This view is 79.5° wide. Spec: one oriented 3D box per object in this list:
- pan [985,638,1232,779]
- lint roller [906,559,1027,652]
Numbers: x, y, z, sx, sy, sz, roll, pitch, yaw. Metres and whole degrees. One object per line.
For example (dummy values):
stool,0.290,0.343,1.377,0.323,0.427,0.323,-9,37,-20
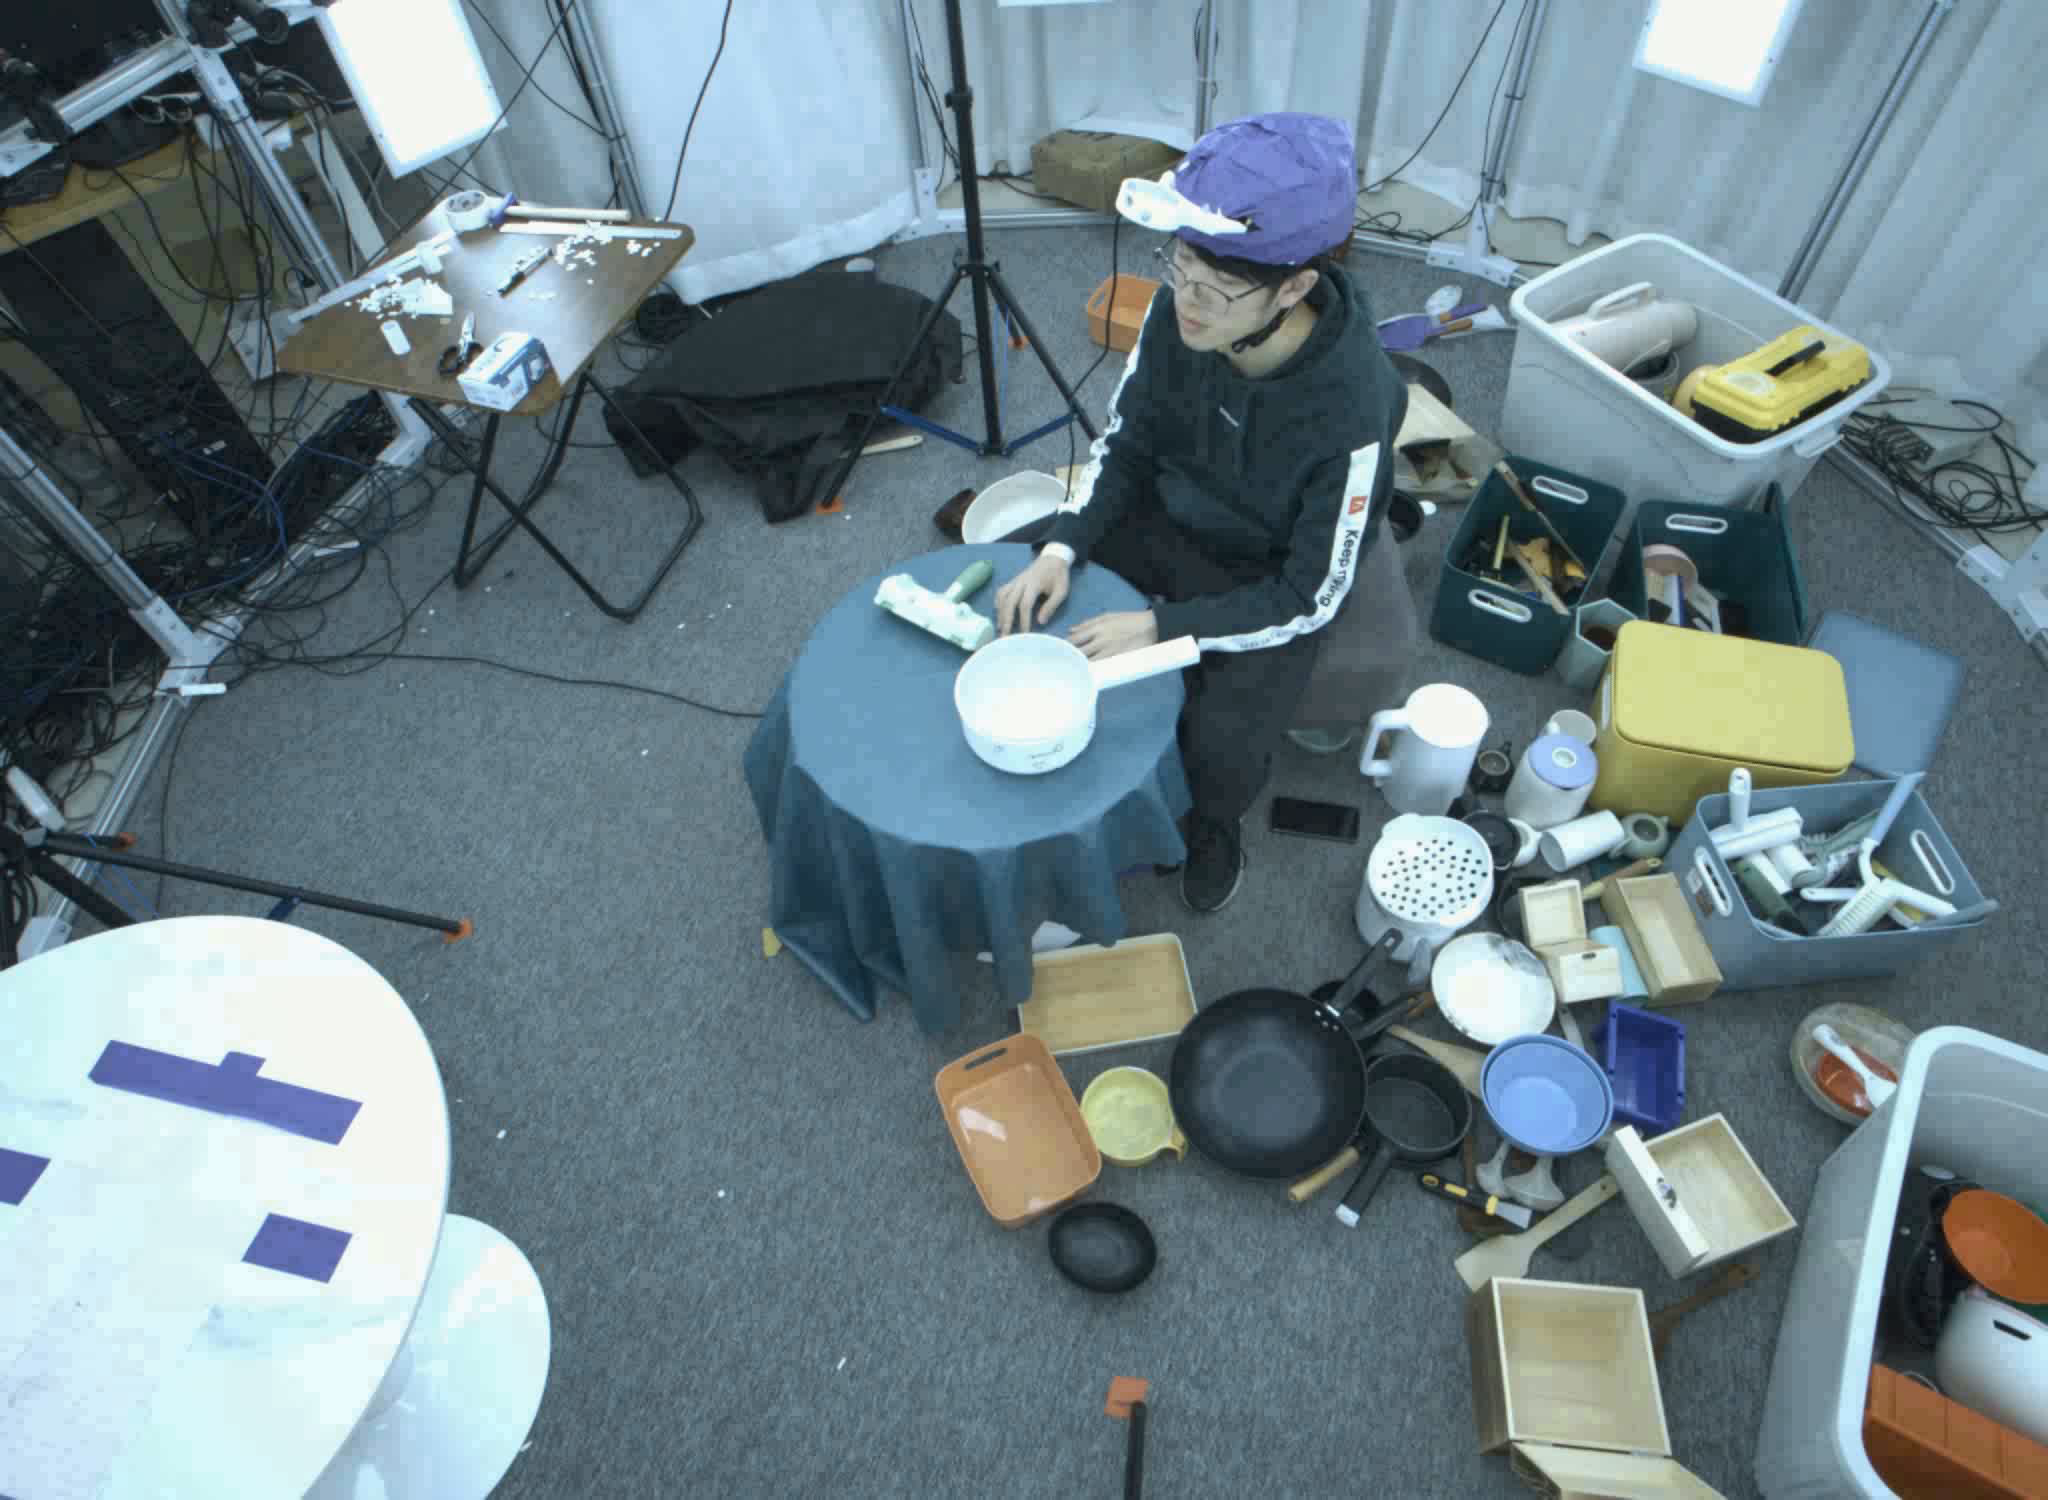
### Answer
pan,0.122,-0.072,1.770,0.357,0.103,0.198,-13,54,-8
lint roller,-0.059,-0.255,1.920,0.195,0.083,0.184,30,66,22
